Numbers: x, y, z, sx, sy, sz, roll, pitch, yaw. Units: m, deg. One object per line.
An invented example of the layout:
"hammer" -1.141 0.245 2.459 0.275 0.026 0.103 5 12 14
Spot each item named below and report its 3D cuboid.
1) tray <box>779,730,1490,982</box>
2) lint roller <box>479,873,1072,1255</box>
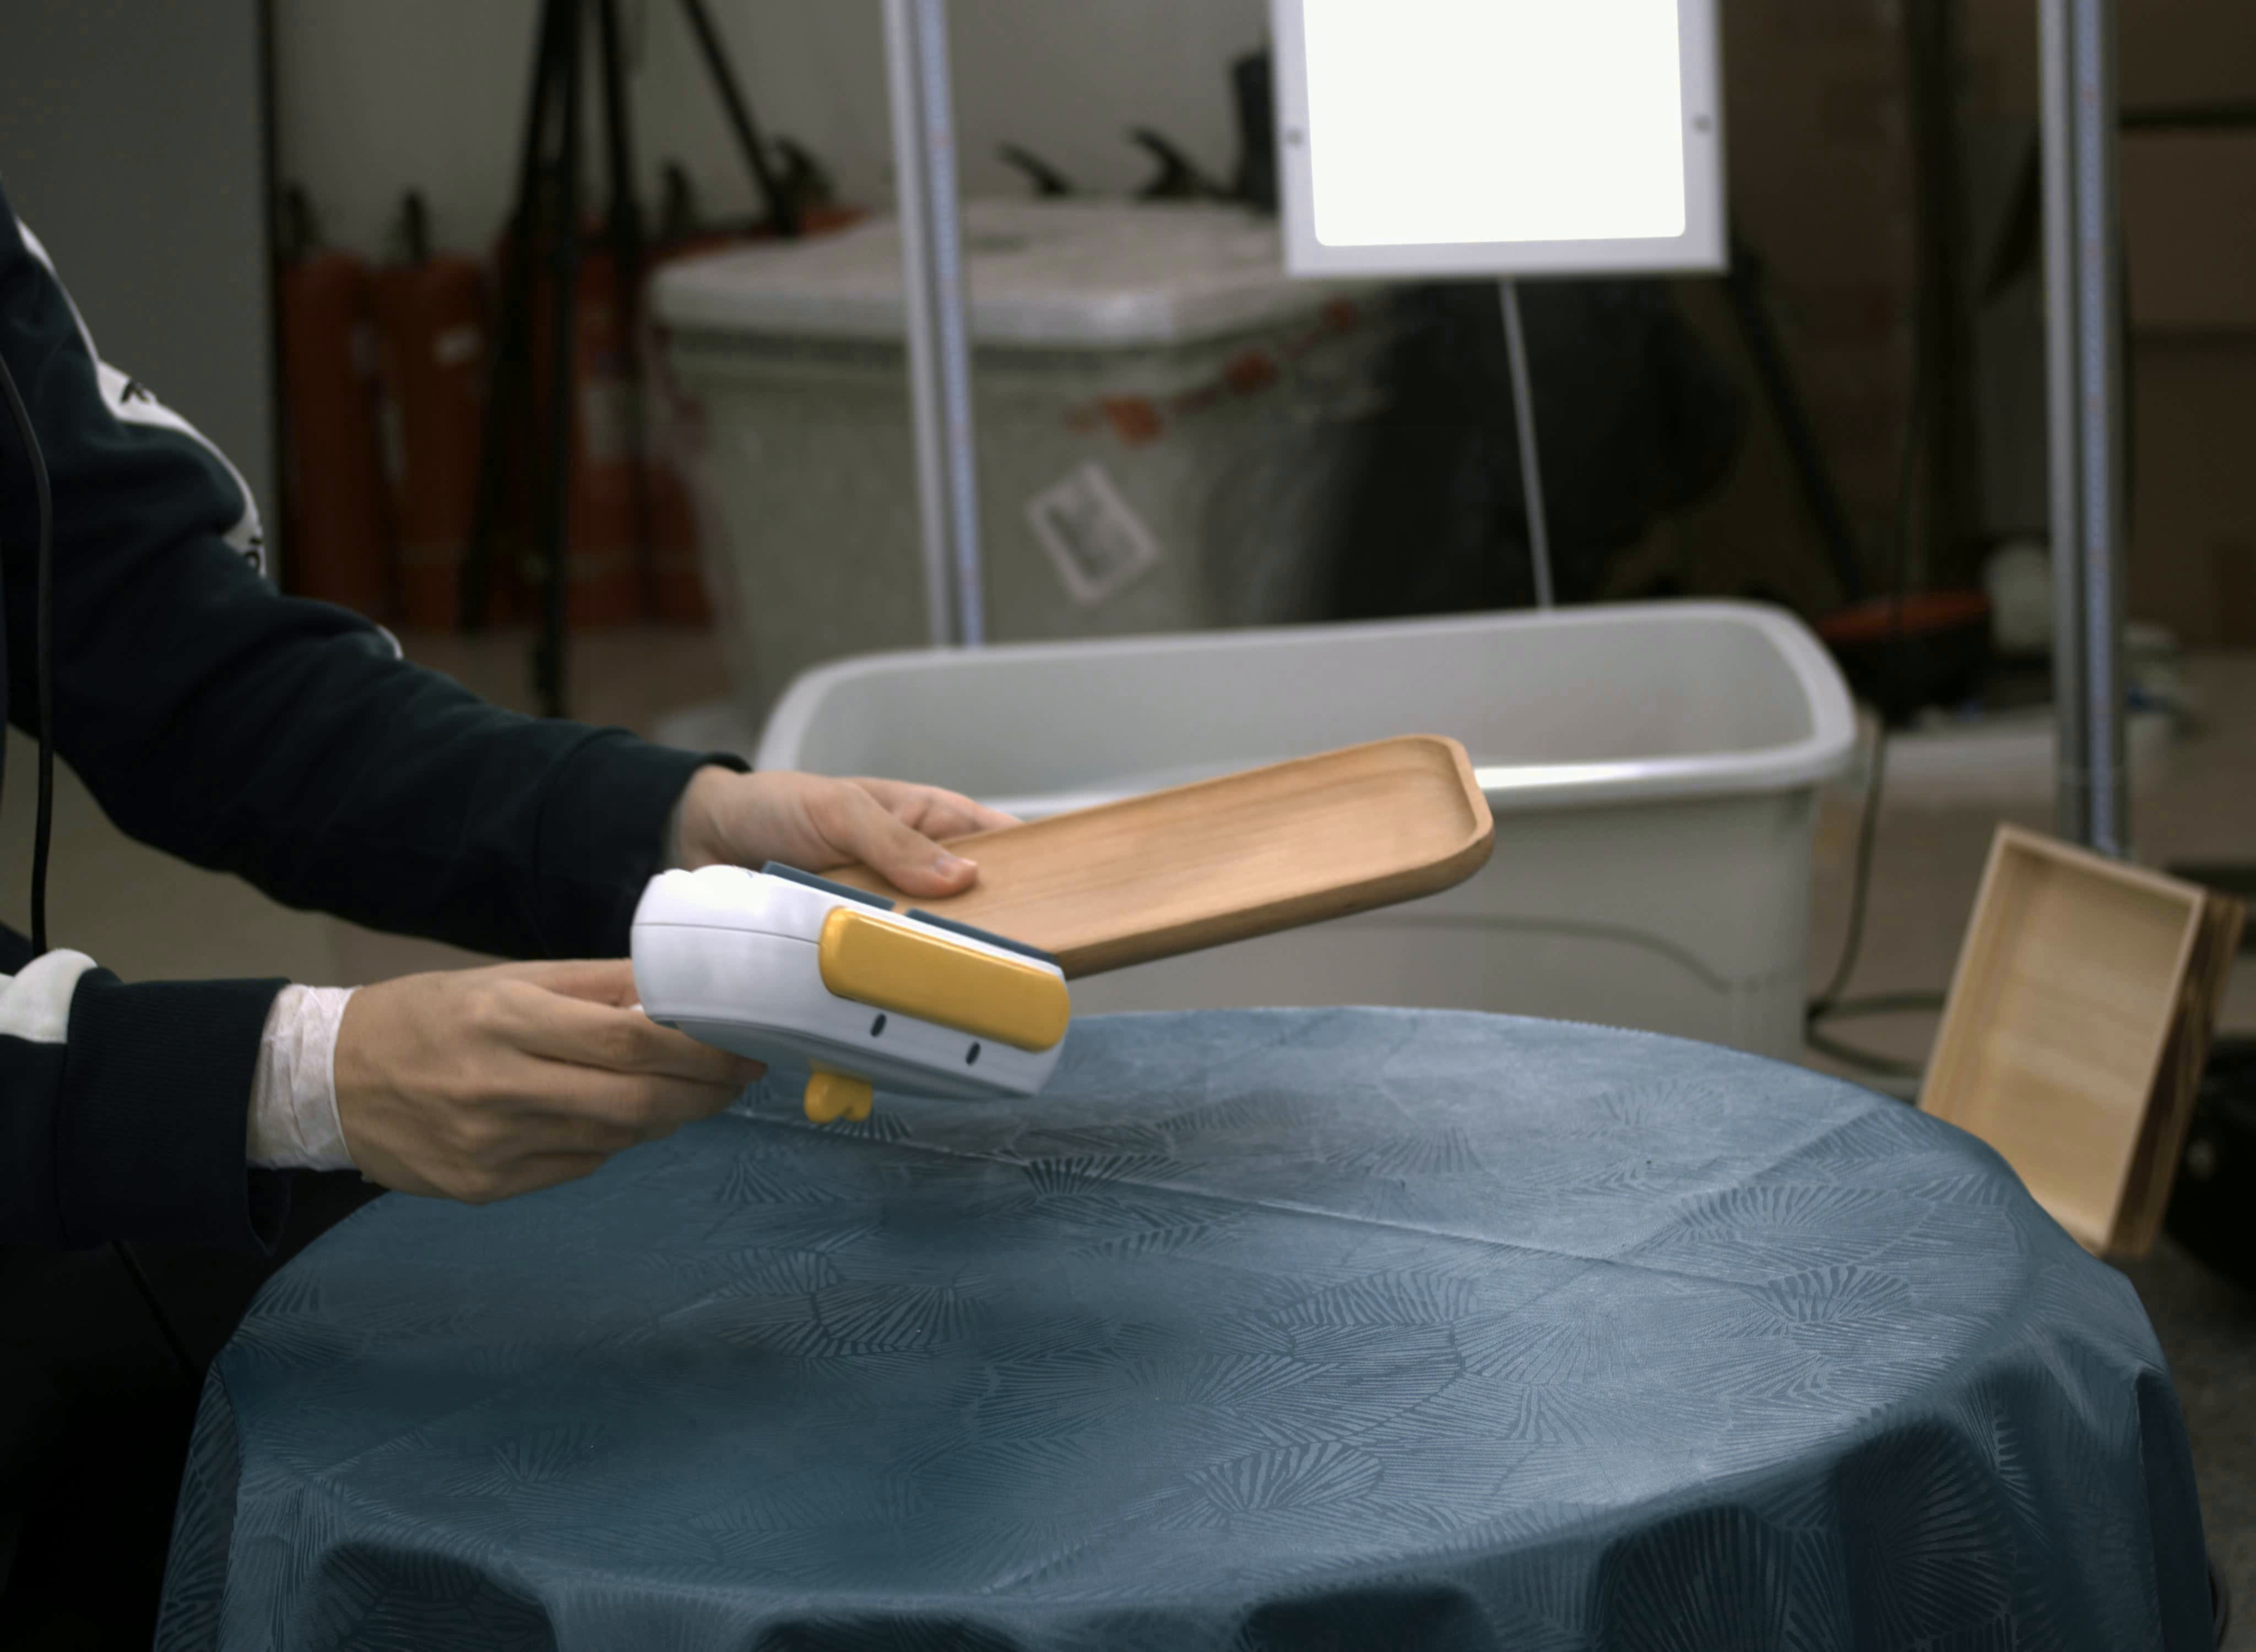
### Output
"tray" 0.001 0.018 1.926 0.251 0.023 0.130 -14 19 3
"lint roller" -0.135 0.081 1.759 0.196 0.074 0.188 -23 -20 32
